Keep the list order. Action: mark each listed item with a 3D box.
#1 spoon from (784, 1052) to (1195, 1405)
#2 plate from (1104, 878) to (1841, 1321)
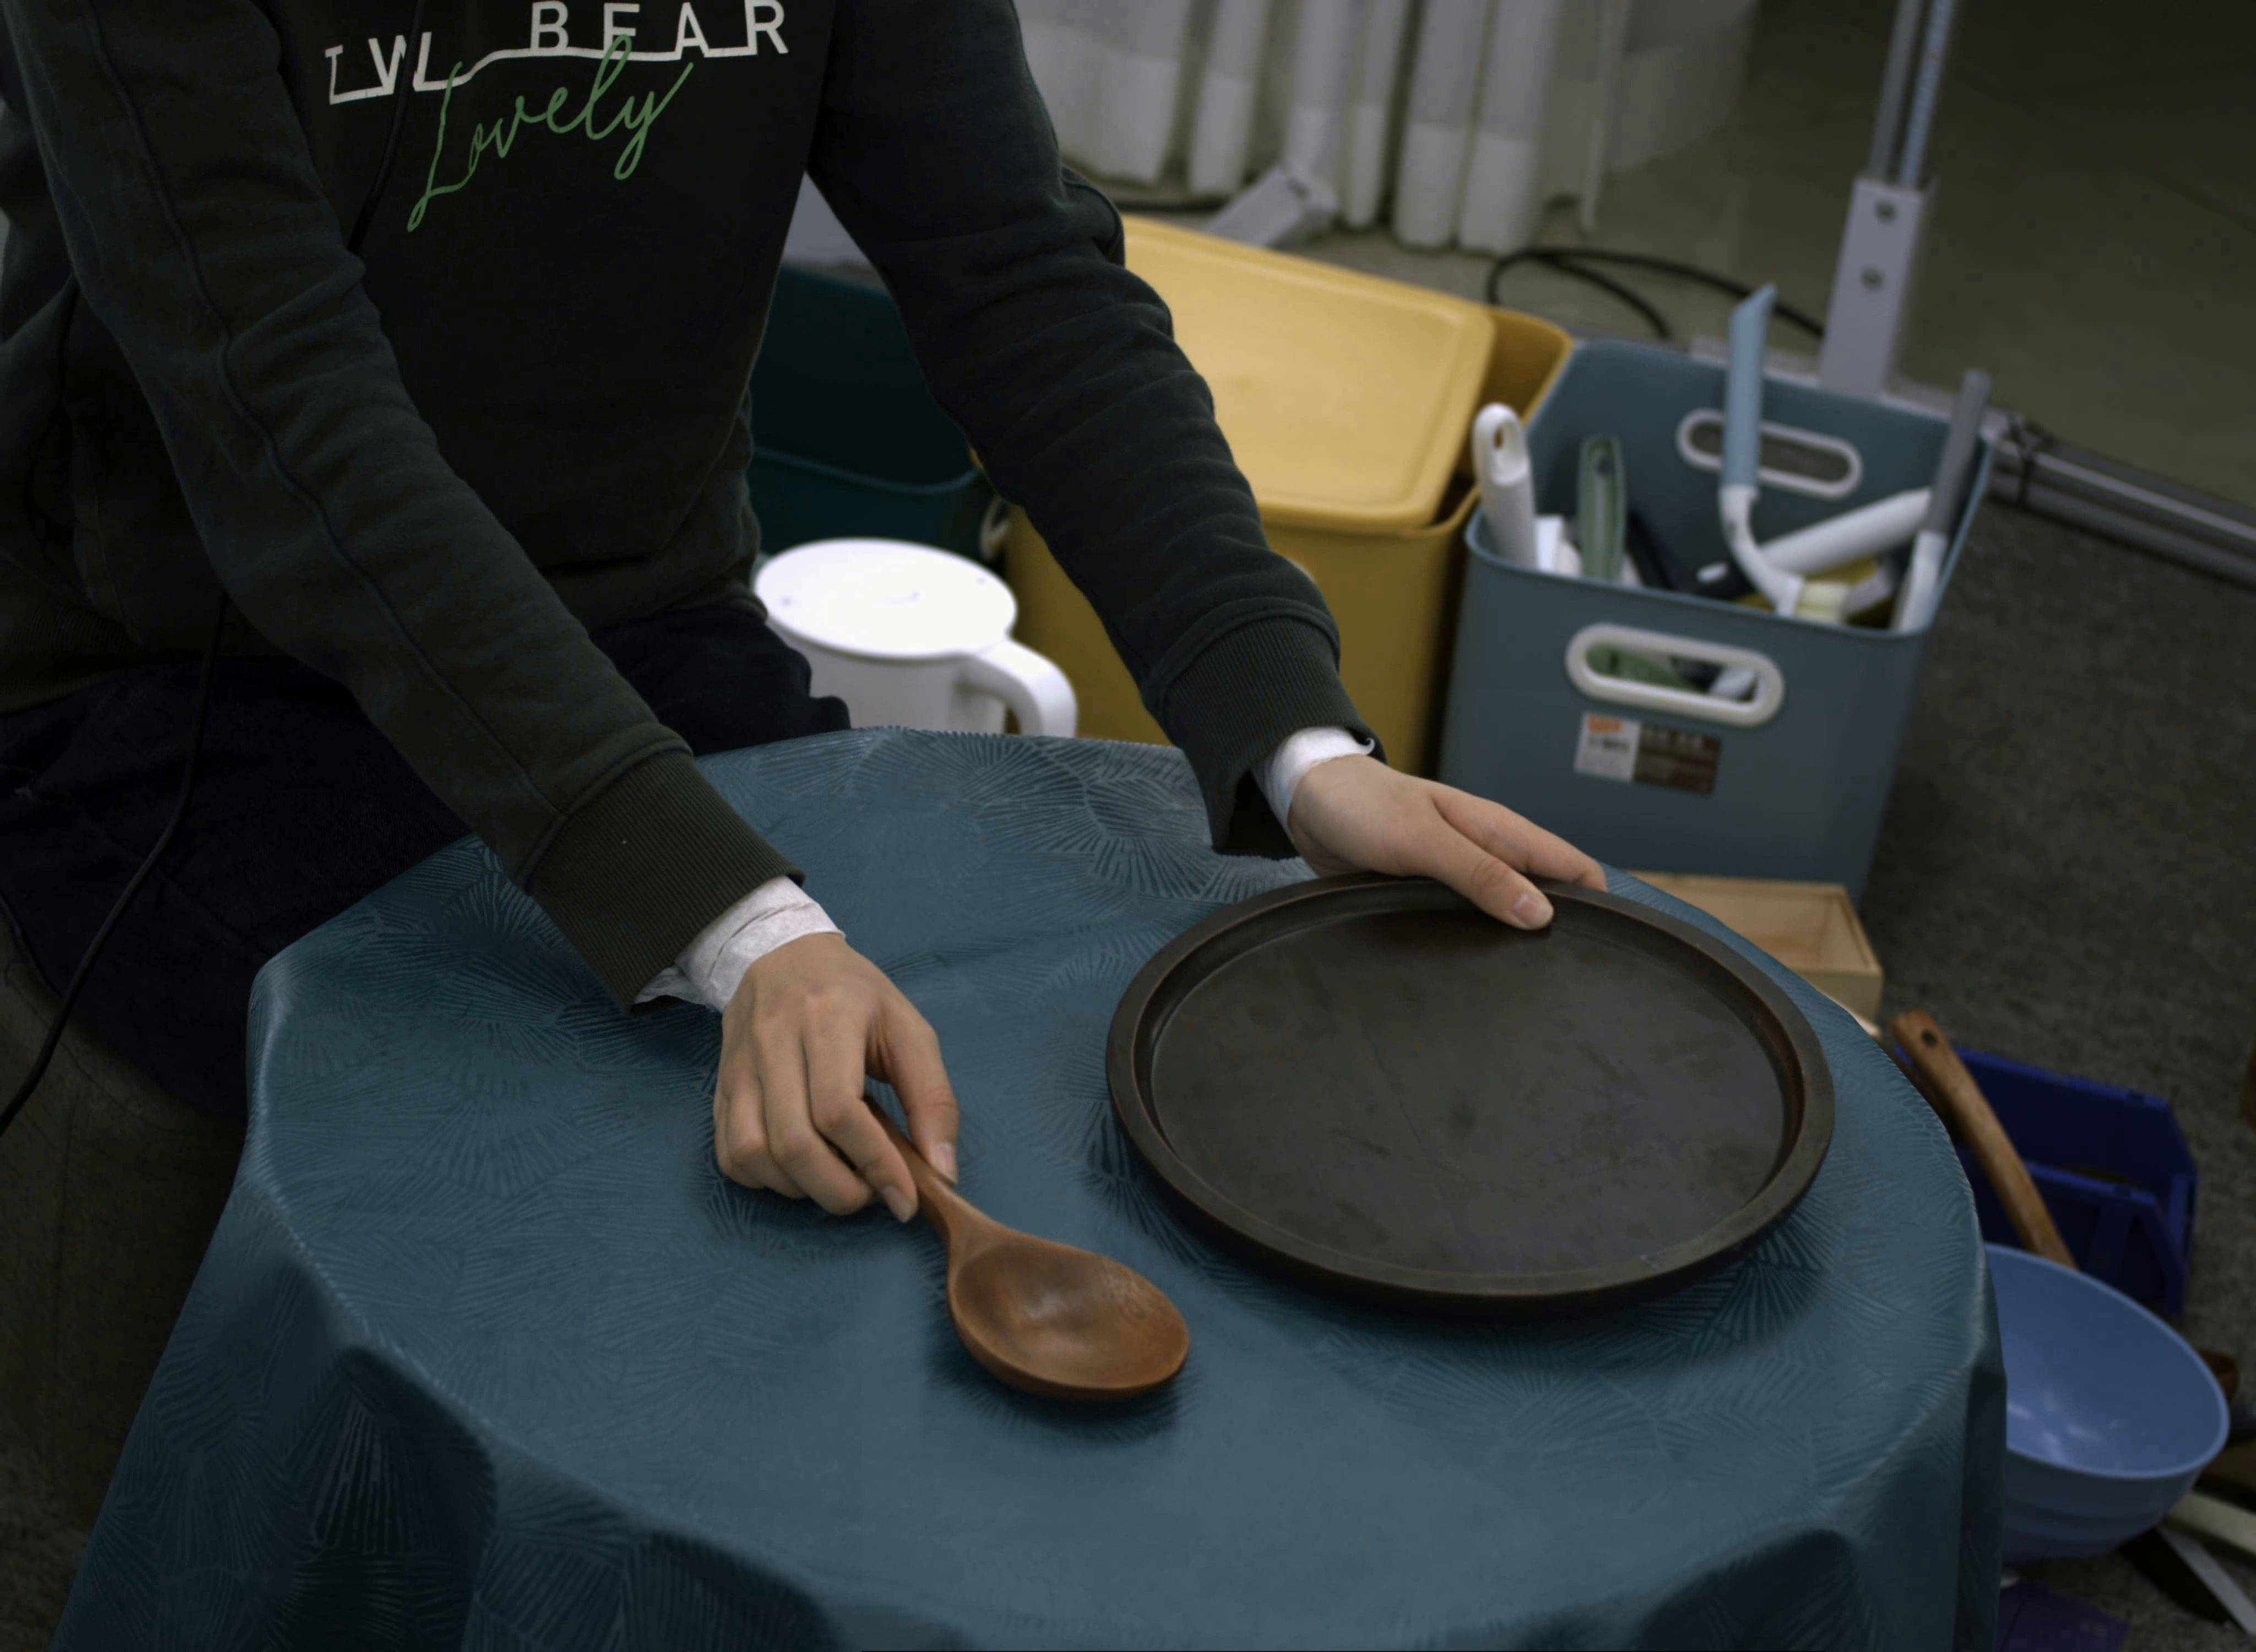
[{"bbox_3d":[-0.053,0.132,1.747,0.075,0.017,0.218,-11,34,-31],"label":"spoon"},{"bbox_3d":[0.118,0.092,1.835,0.254,0.029,0.256,2,33,-2],"label":"plate"}]
